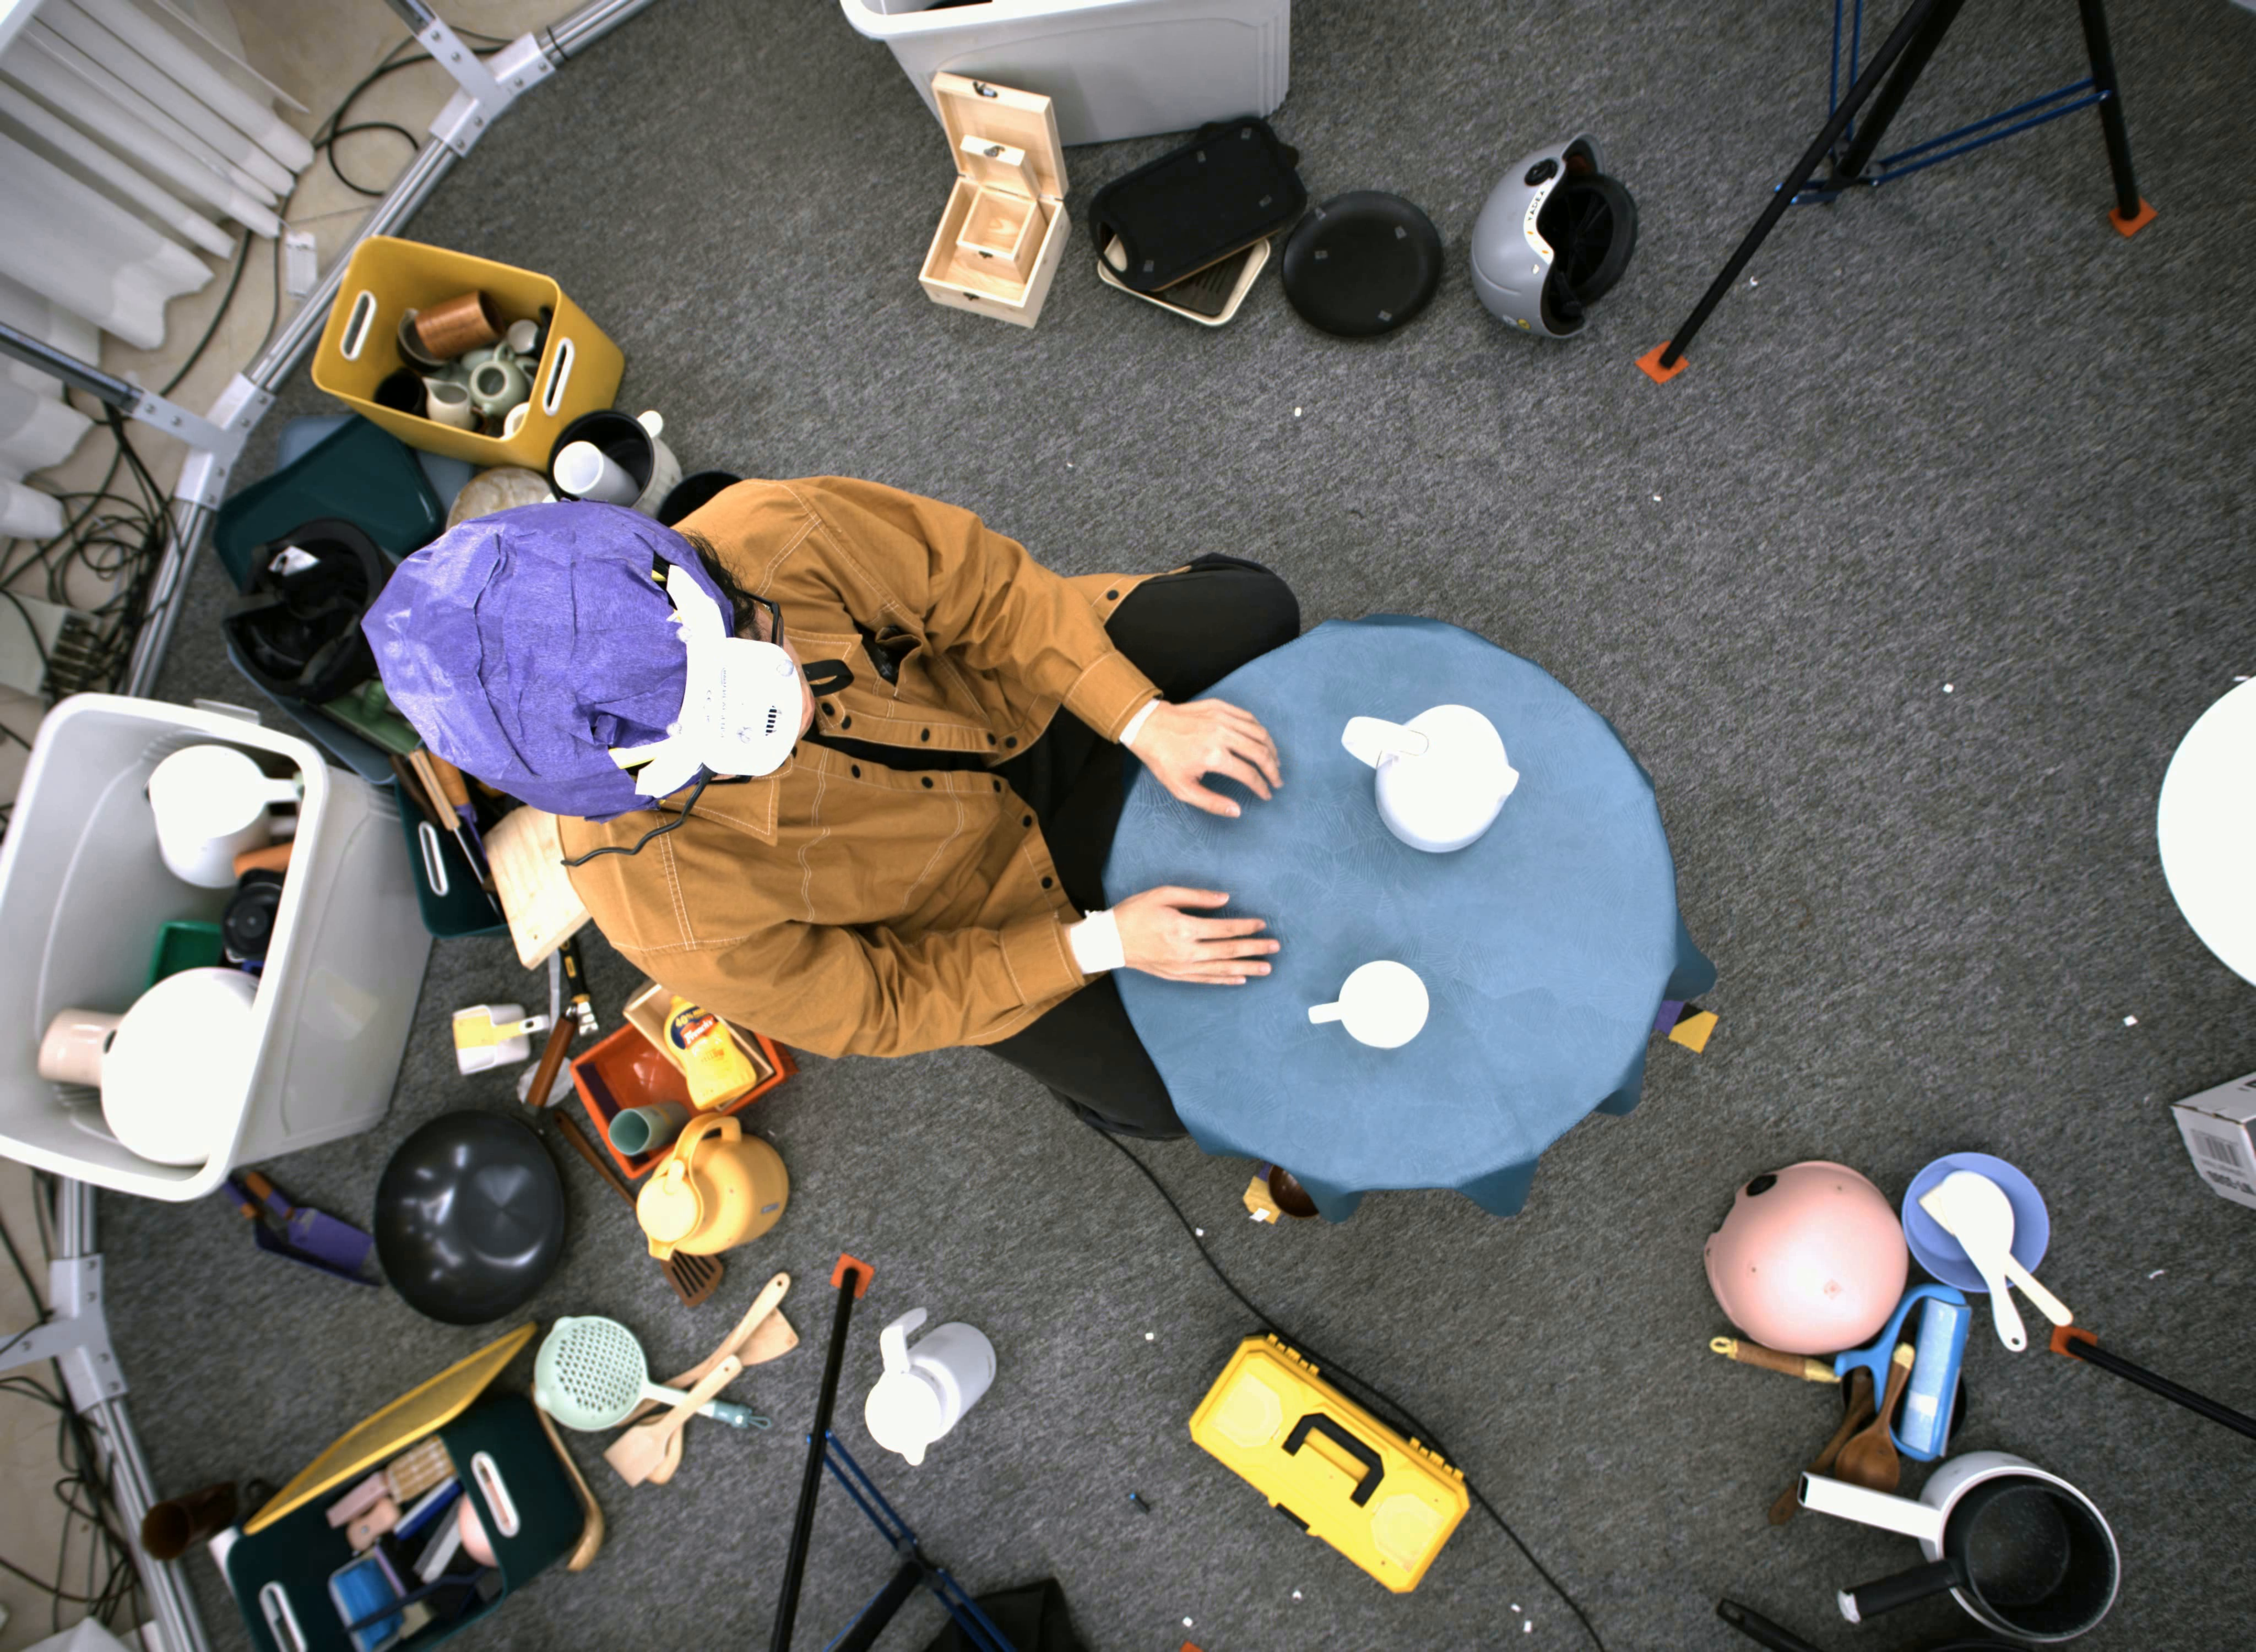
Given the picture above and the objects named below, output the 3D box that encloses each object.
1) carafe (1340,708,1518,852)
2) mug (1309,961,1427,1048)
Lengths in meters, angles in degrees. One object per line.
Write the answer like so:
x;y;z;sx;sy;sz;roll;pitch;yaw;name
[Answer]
0.288;-0.056;1.338;0.167;0.248;0.132;21;90;12;carafe
0.243;0.182;1.409;0.119;0.102;0.084;-12;83;10;mug
